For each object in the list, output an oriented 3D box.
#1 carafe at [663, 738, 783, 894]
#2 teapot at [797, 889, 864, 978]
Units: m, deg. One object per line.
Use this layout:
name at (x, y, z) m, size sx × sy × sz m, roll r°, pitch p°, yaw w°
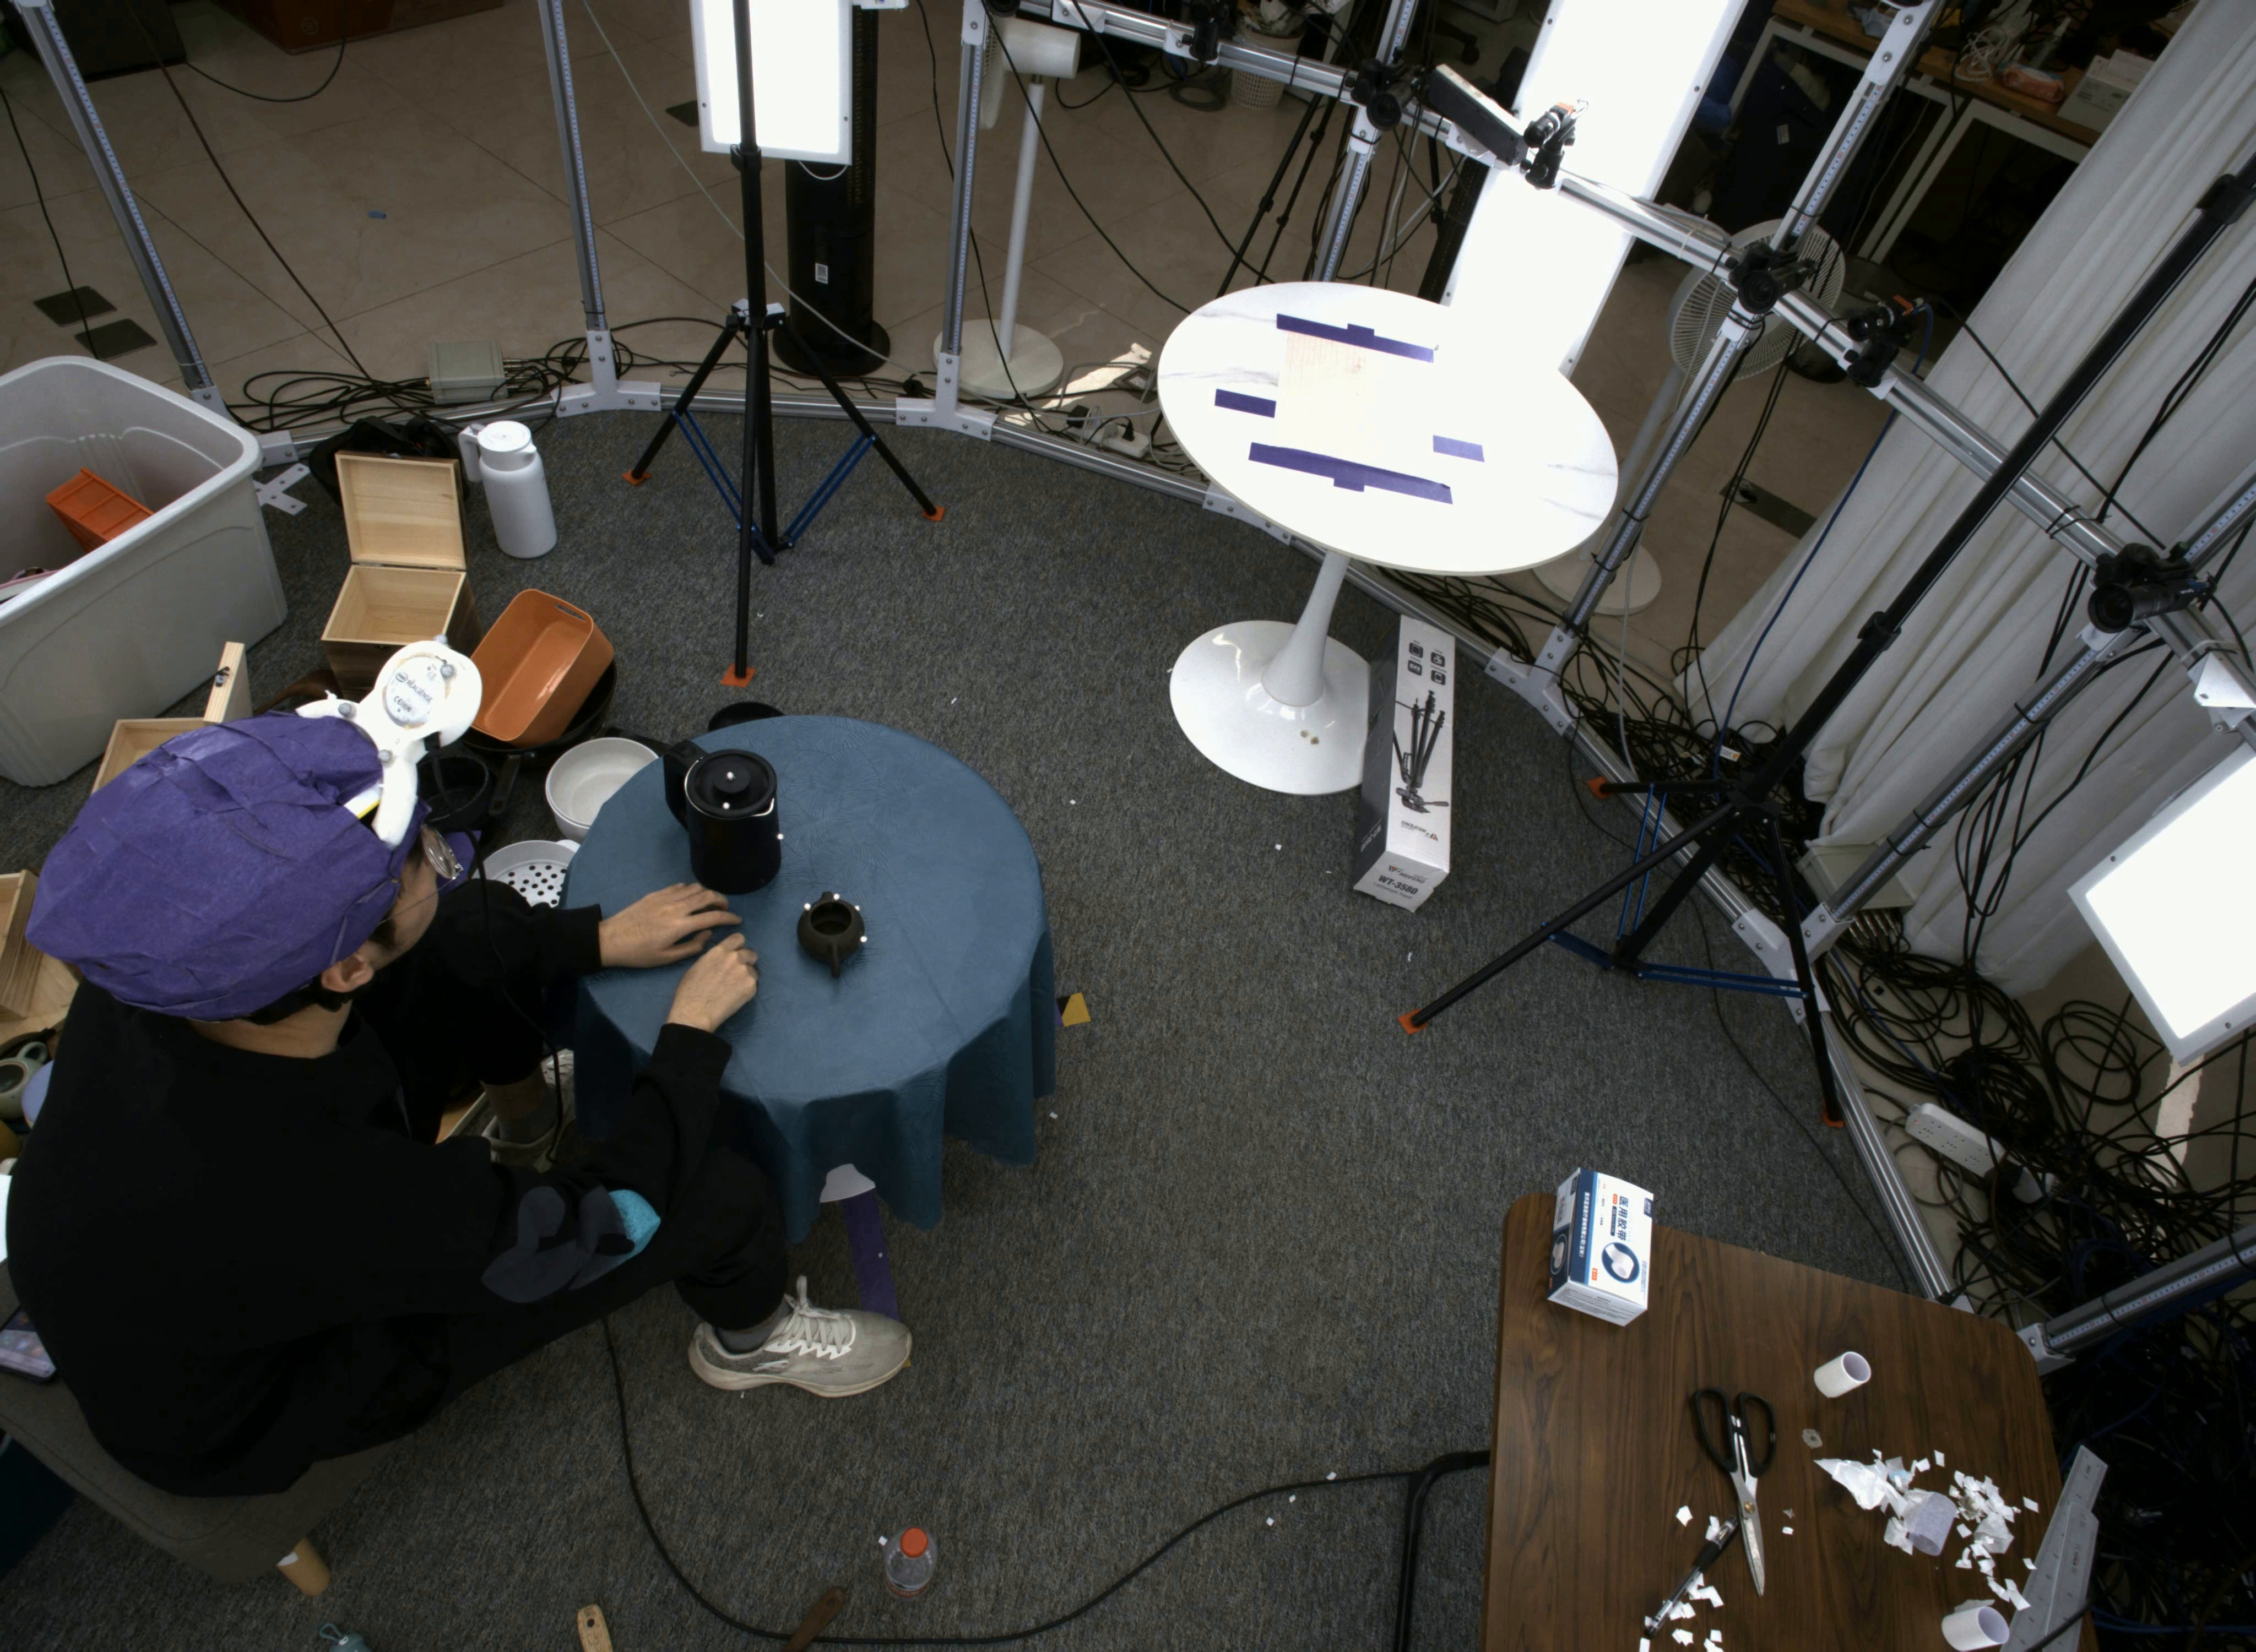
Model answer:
carafe at (-0.510, -0.022, 1.613) m, size 0.169 × 0.176 × 0.114 m, roll 34°, pitch 55°, yaw 10°
teapot at (-0.369, 0.134, 1.613) m, size 0.083 × 0.054 × 0.111 m, roll -2°, pitch 51°, yaw -14°
